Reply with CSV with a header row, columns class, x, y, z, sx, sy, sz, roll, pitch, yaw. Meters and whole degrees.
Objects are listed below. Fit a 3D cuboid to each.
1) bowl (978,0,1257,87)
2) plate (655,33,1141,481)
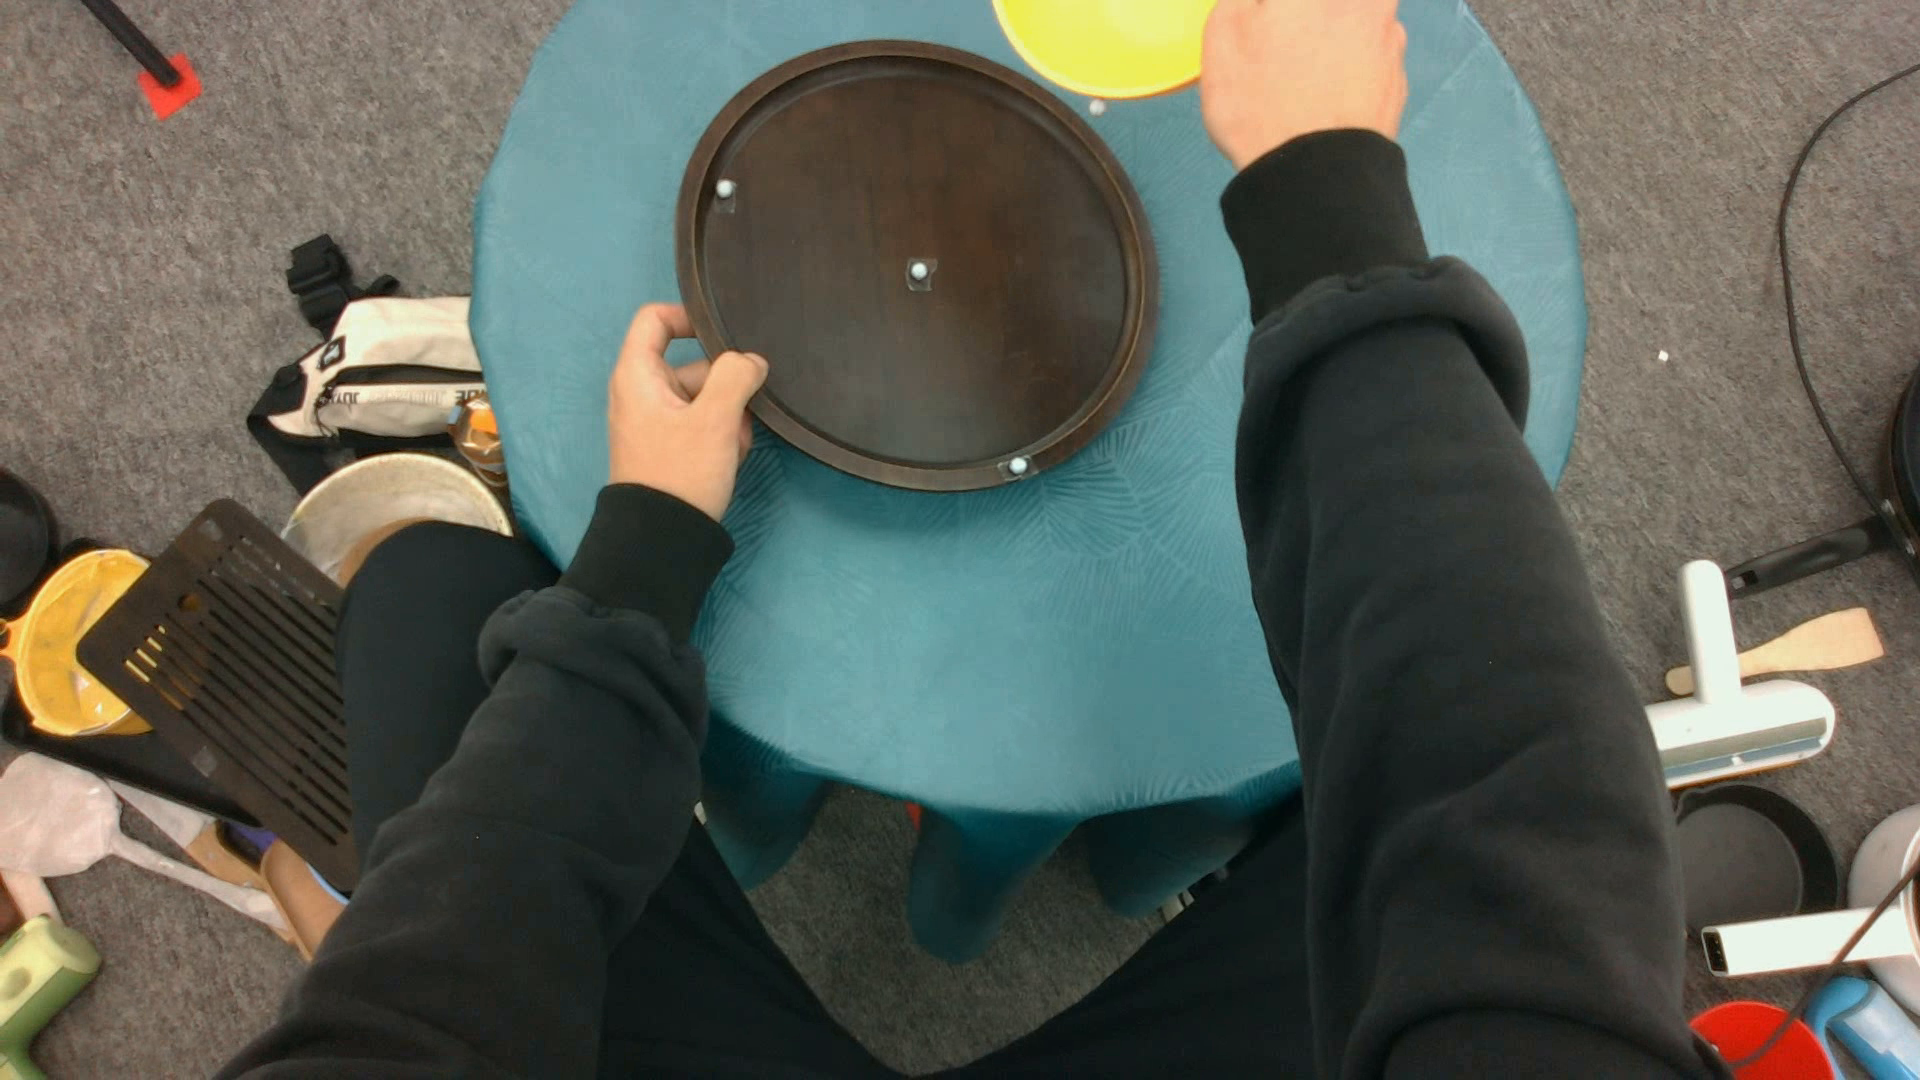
class,x,y,z,sx,sy,sz,roll,pitch,yaw
bowl,0.082,-0.263,0.609,0.145,0.060,0.145,-2,85,27
plate,-0.027,-0.148,0.707,0.255,0.029,0.255,5,73,-15
